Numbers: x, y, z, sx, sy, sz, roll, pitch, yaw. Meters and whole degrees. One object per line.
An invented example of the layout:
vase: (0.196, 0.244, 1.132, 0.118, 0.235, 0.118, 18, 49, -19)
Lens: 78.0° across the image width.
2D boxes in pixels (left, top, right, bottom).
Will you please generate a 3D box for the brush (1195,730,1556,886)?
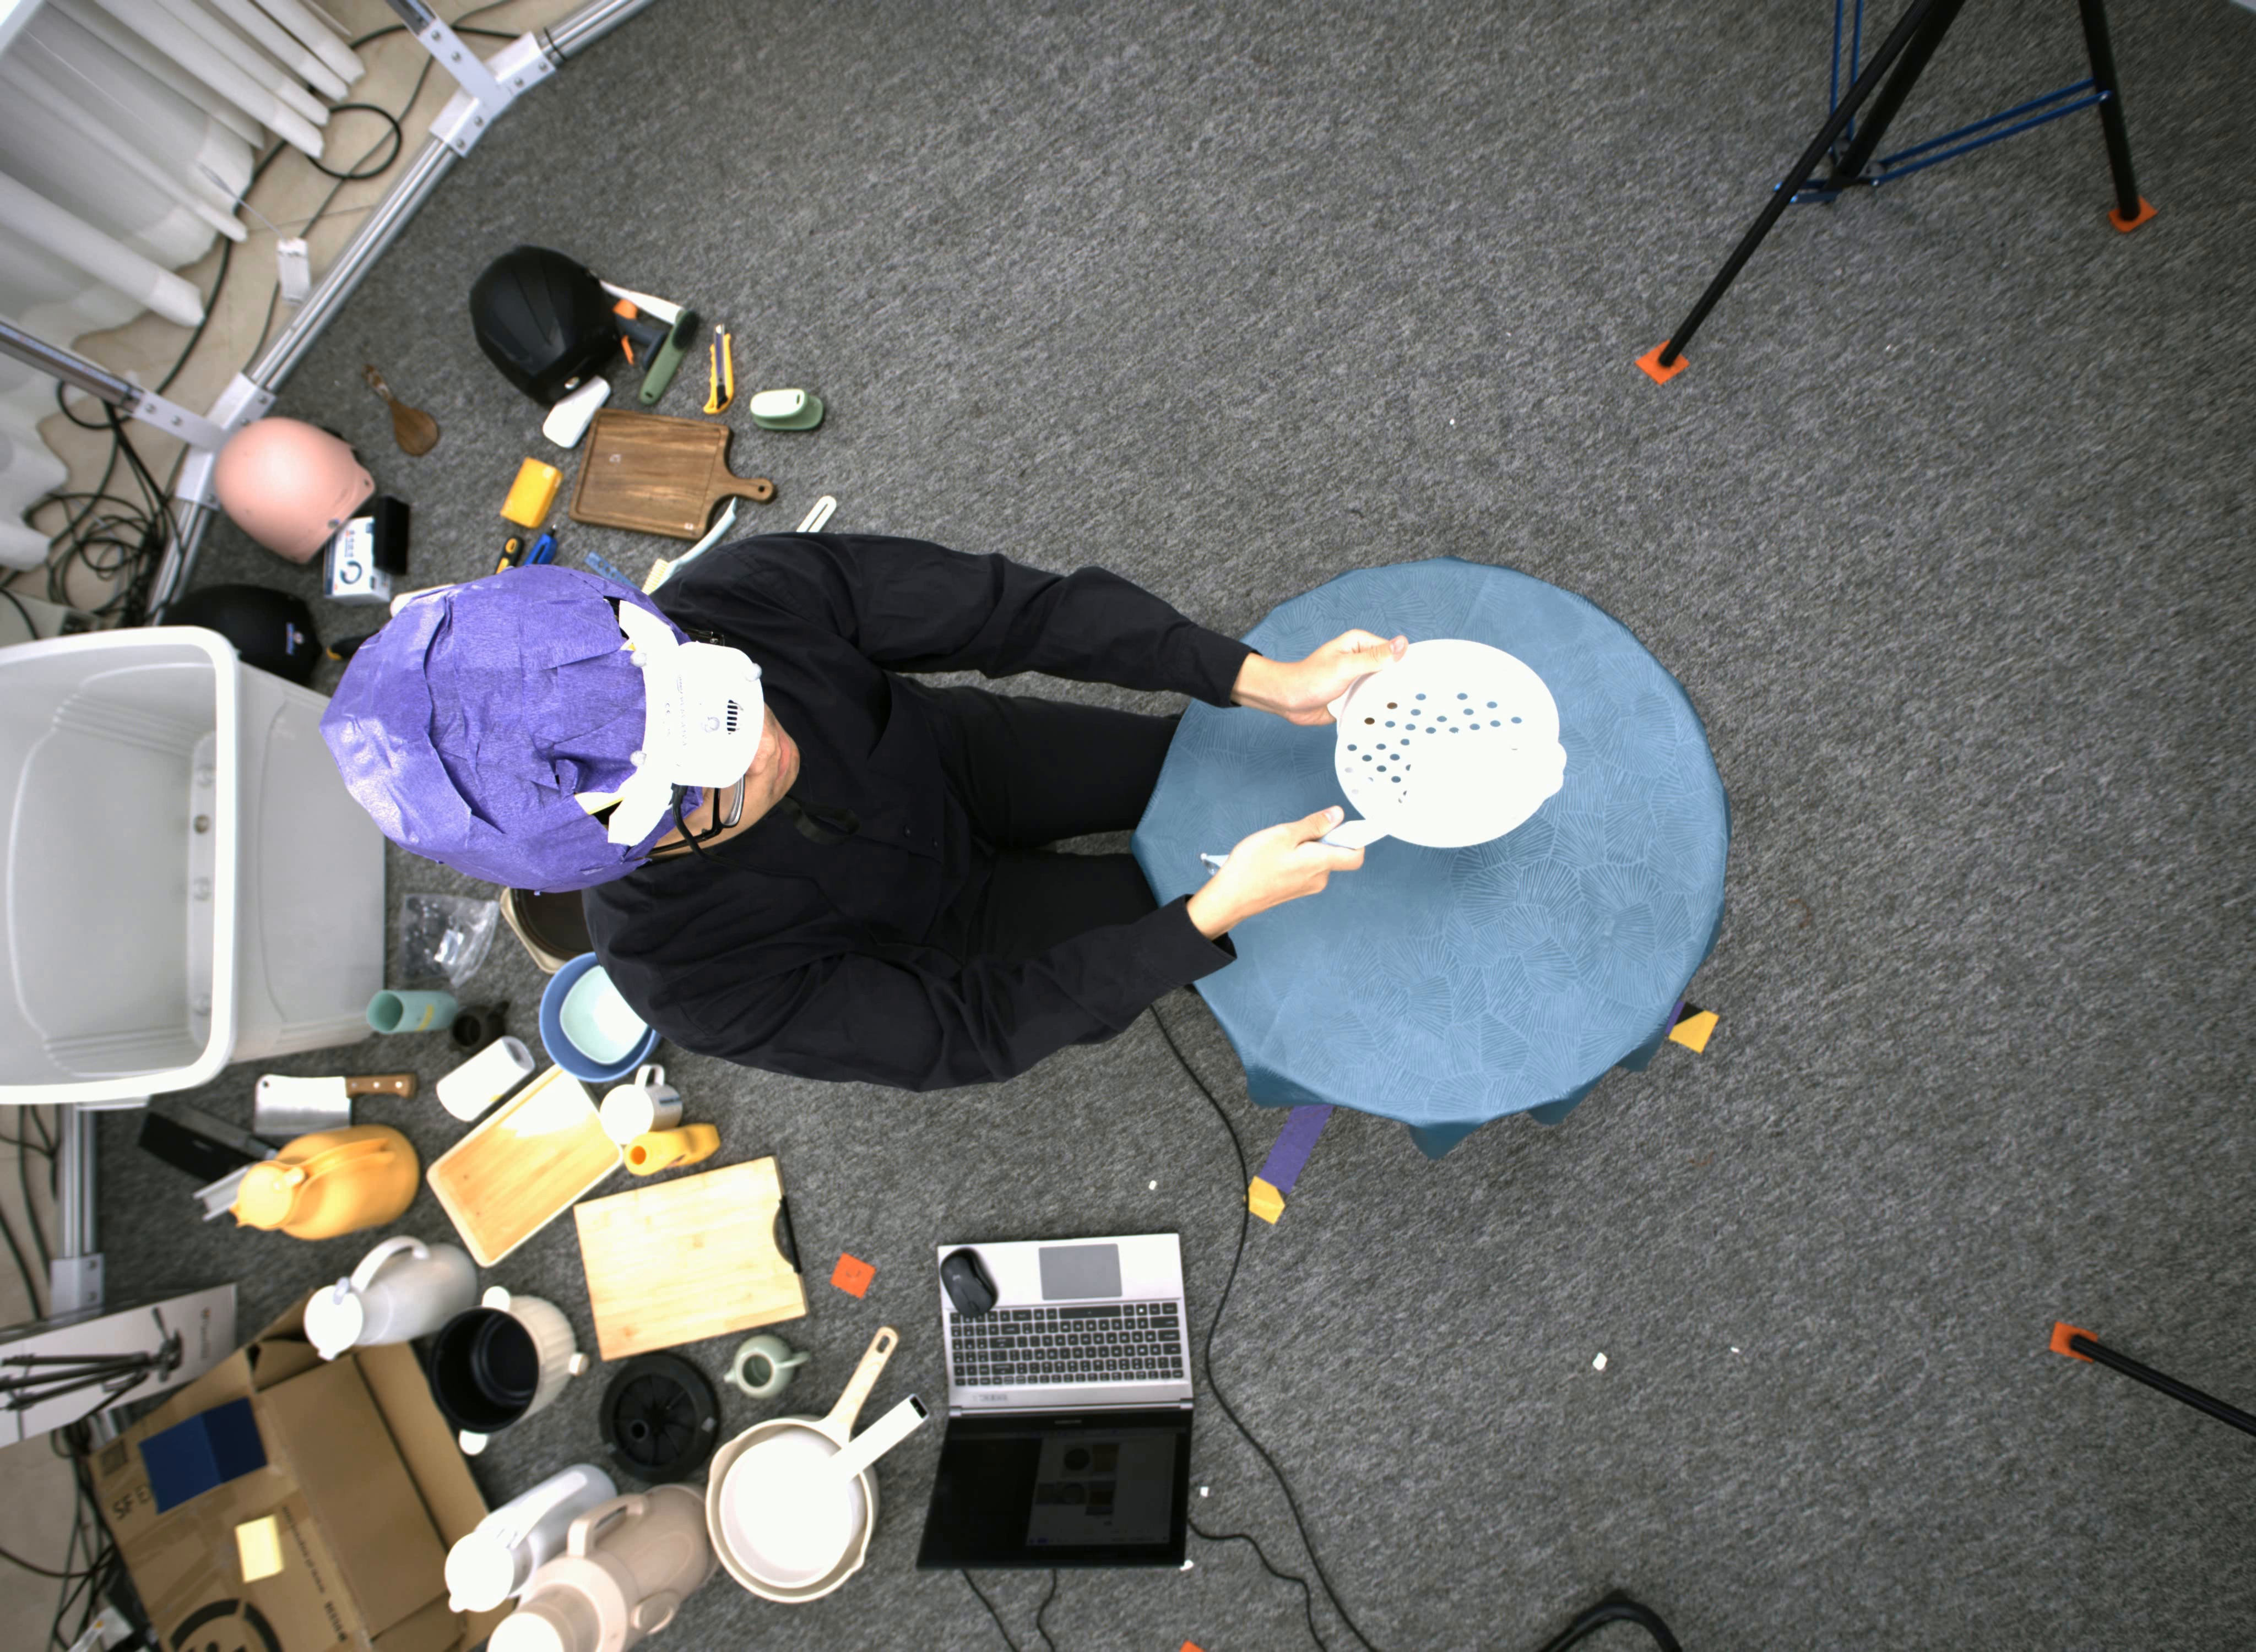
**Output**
brush: (0.212, -0.024, 1.212, 0.328, 0.084, 0.083, -16, 87, 17)

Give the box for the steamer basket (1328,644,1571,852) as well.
steamer basket: (0.291, -0.066, 1.239, 0.231, 0.067, 0.207, 22, 134, -6)
